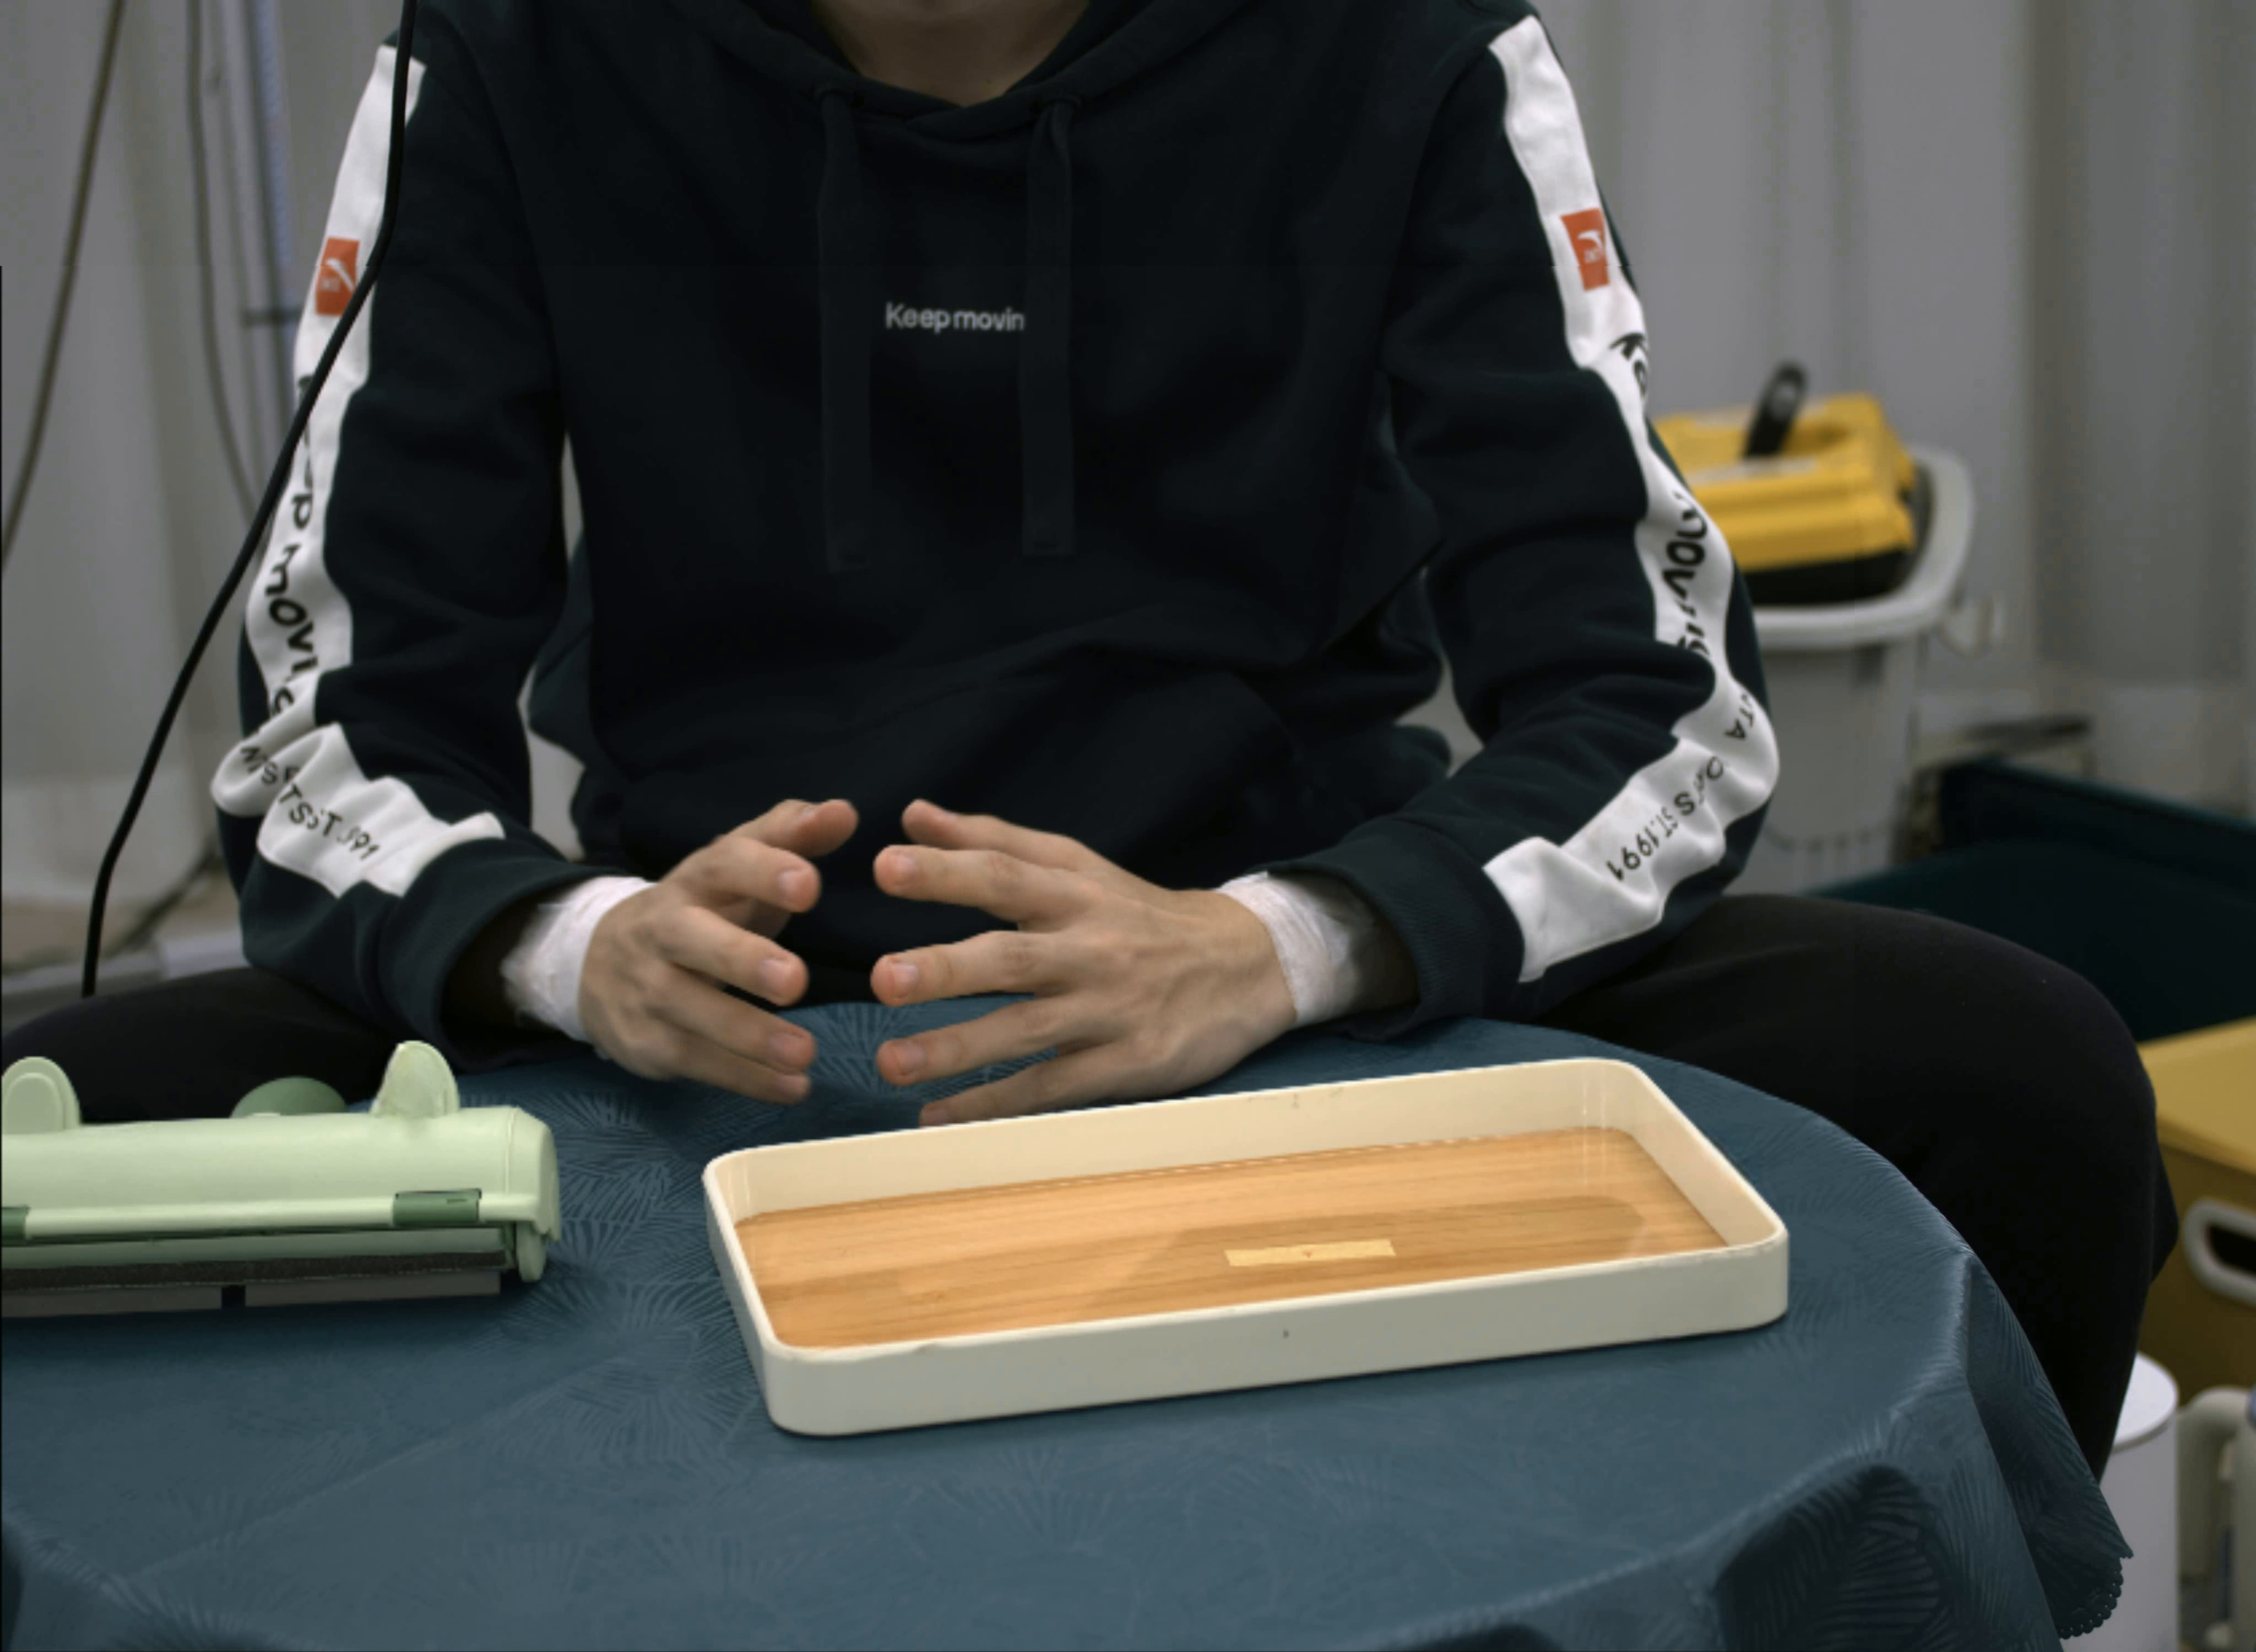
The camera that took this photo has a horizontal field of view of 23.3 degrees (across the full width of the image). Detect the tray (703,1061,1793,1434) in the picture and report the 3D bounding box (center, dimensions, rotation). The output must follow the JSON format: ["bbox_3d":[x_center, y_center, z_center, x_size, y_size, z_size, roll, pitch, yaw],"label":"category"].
[{"bbox_3d":[0.031,0.123,1.626,0.299,0.027,0.193,-6,15,-9],"label":"tray"}]

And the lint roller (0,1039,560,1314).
[{"bbox_3d":[-0.272,0.091,1.707,0.198,0.082,0.185,-3,19,2],"label":"lint roller"}]
